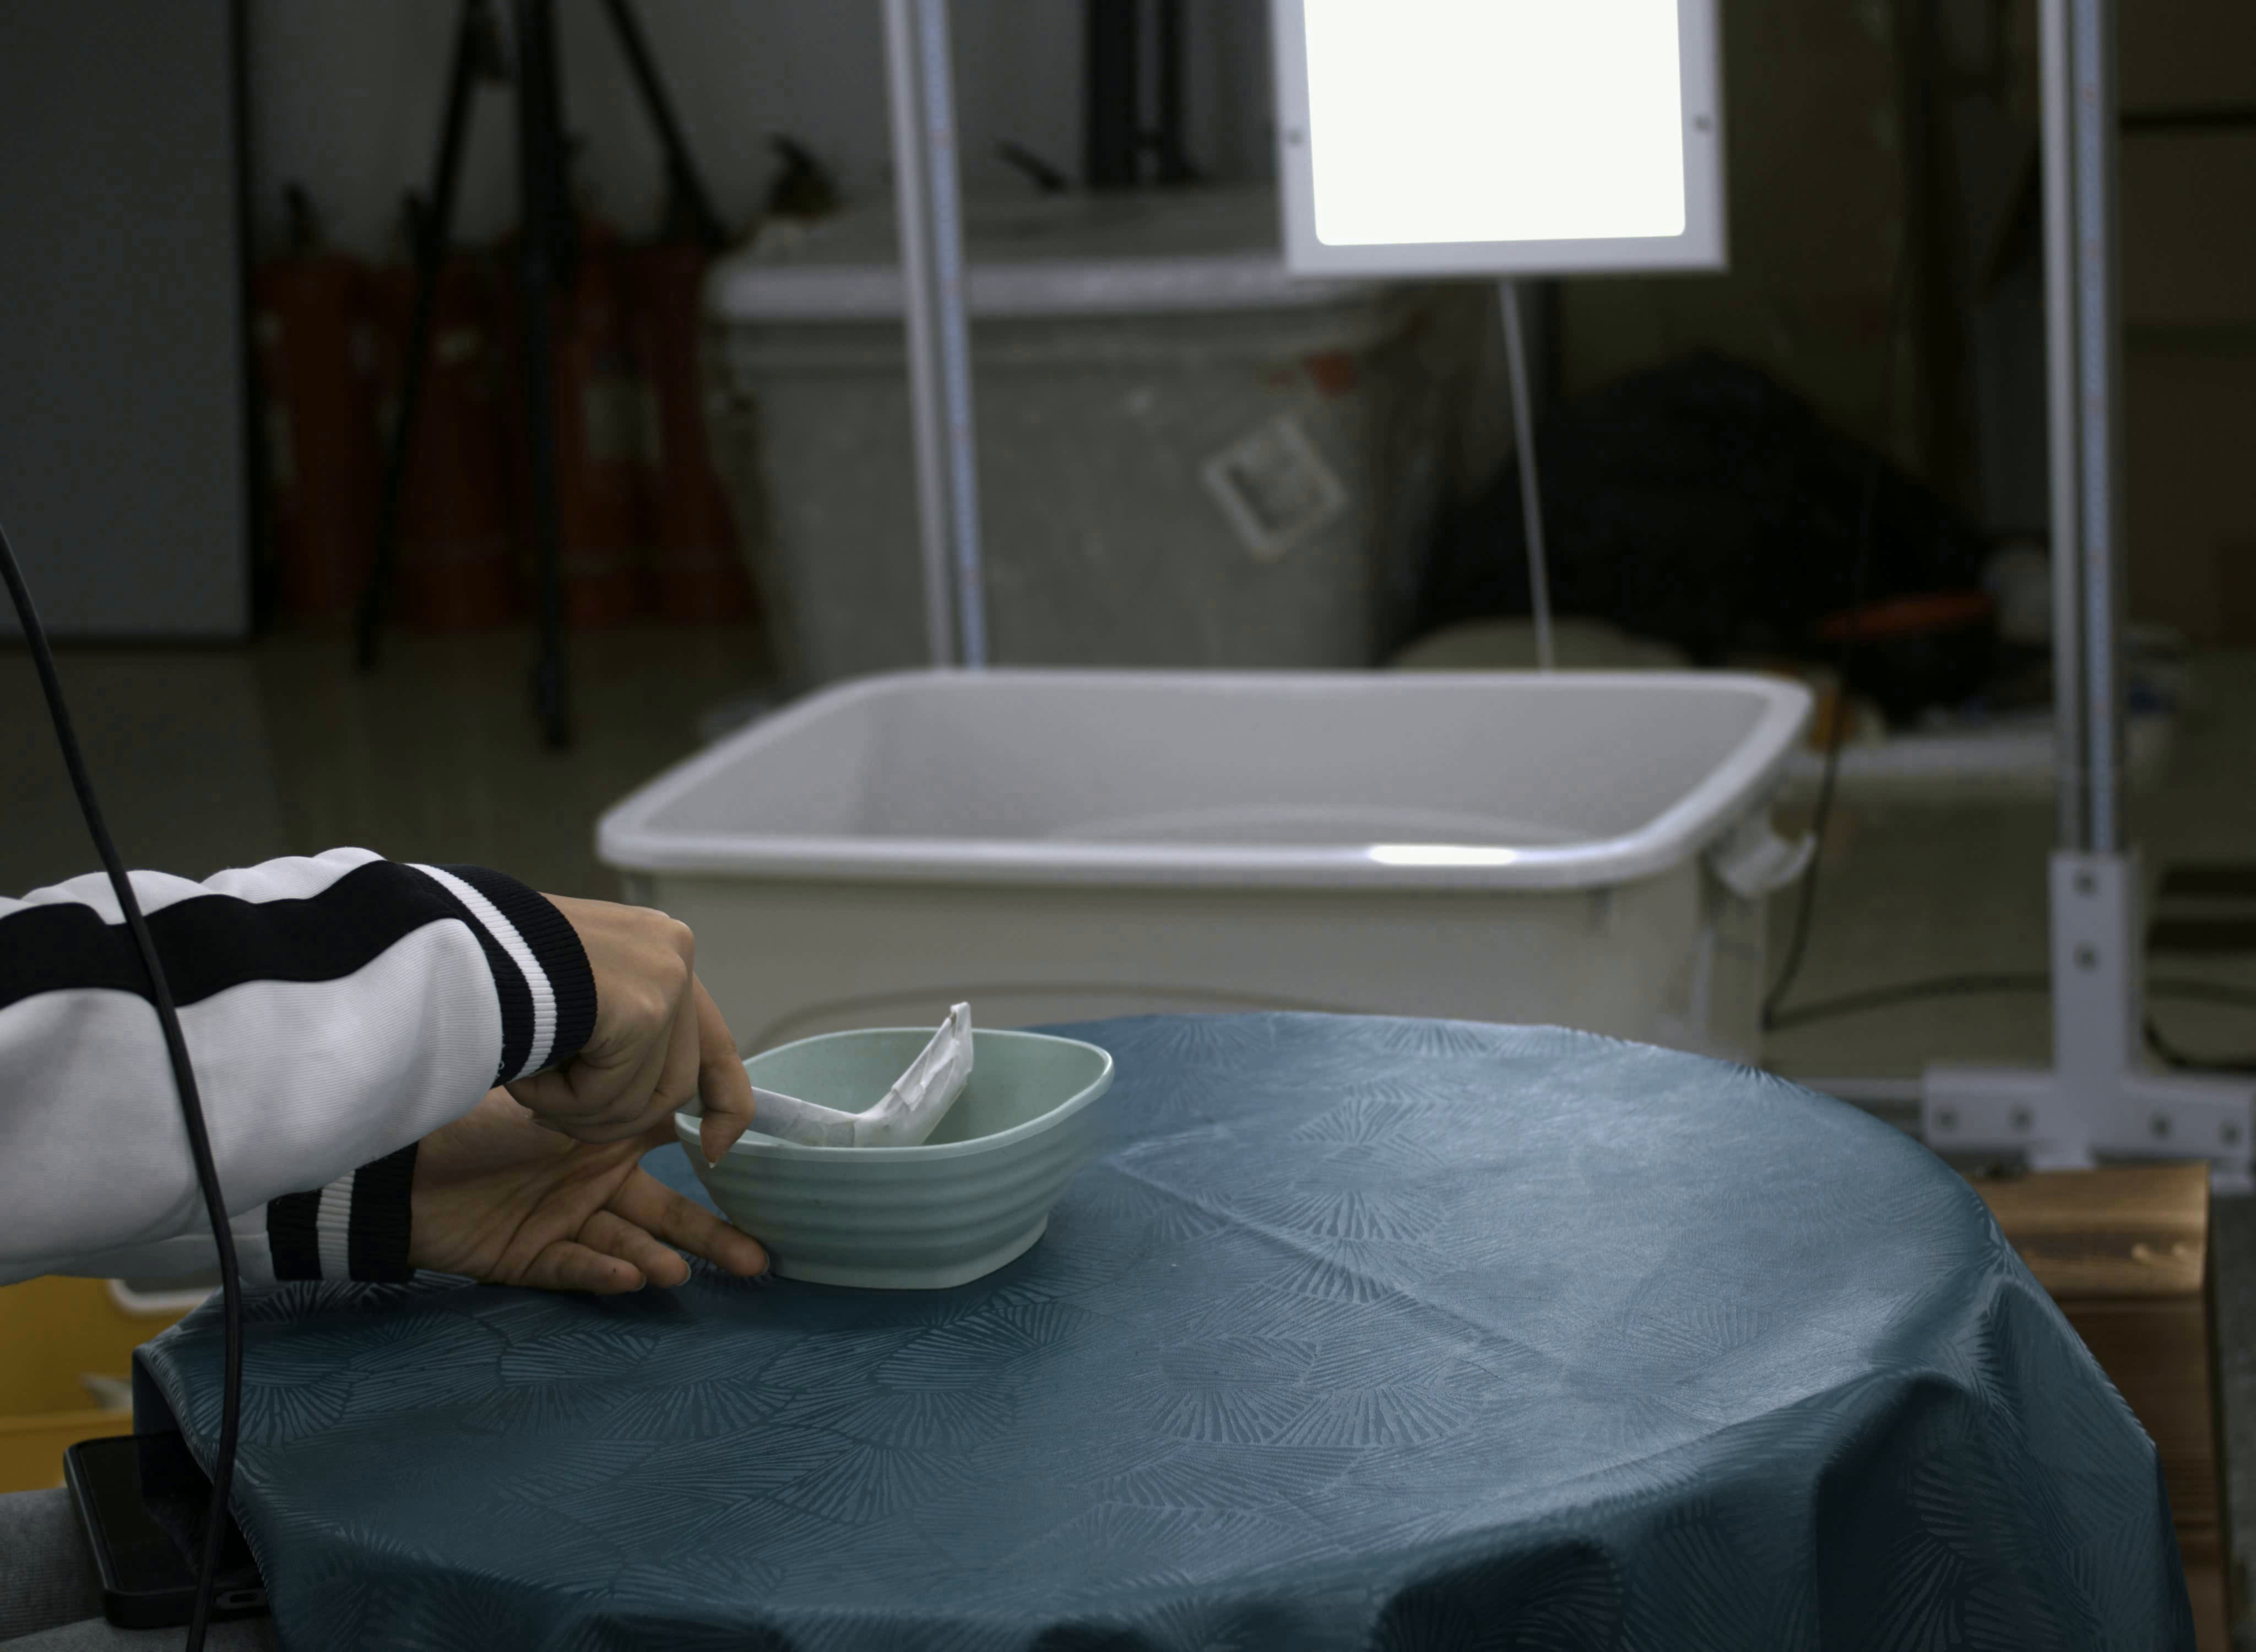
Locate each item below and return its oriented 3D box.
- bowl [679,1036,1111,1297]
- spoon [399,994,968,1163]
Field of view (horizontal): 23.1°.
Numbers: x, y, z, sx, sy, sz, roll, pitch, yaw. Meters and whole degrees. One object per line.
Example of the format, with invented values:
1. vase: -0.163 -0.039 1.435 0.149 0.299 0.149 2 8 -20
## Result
1. bowl: -0.077 0.117 1.853 0.151 0.059 0.151 -5 13 0
2. spoon: -0.147 0.089 1.798 0.270 0.102 0.060 10 26 -47
